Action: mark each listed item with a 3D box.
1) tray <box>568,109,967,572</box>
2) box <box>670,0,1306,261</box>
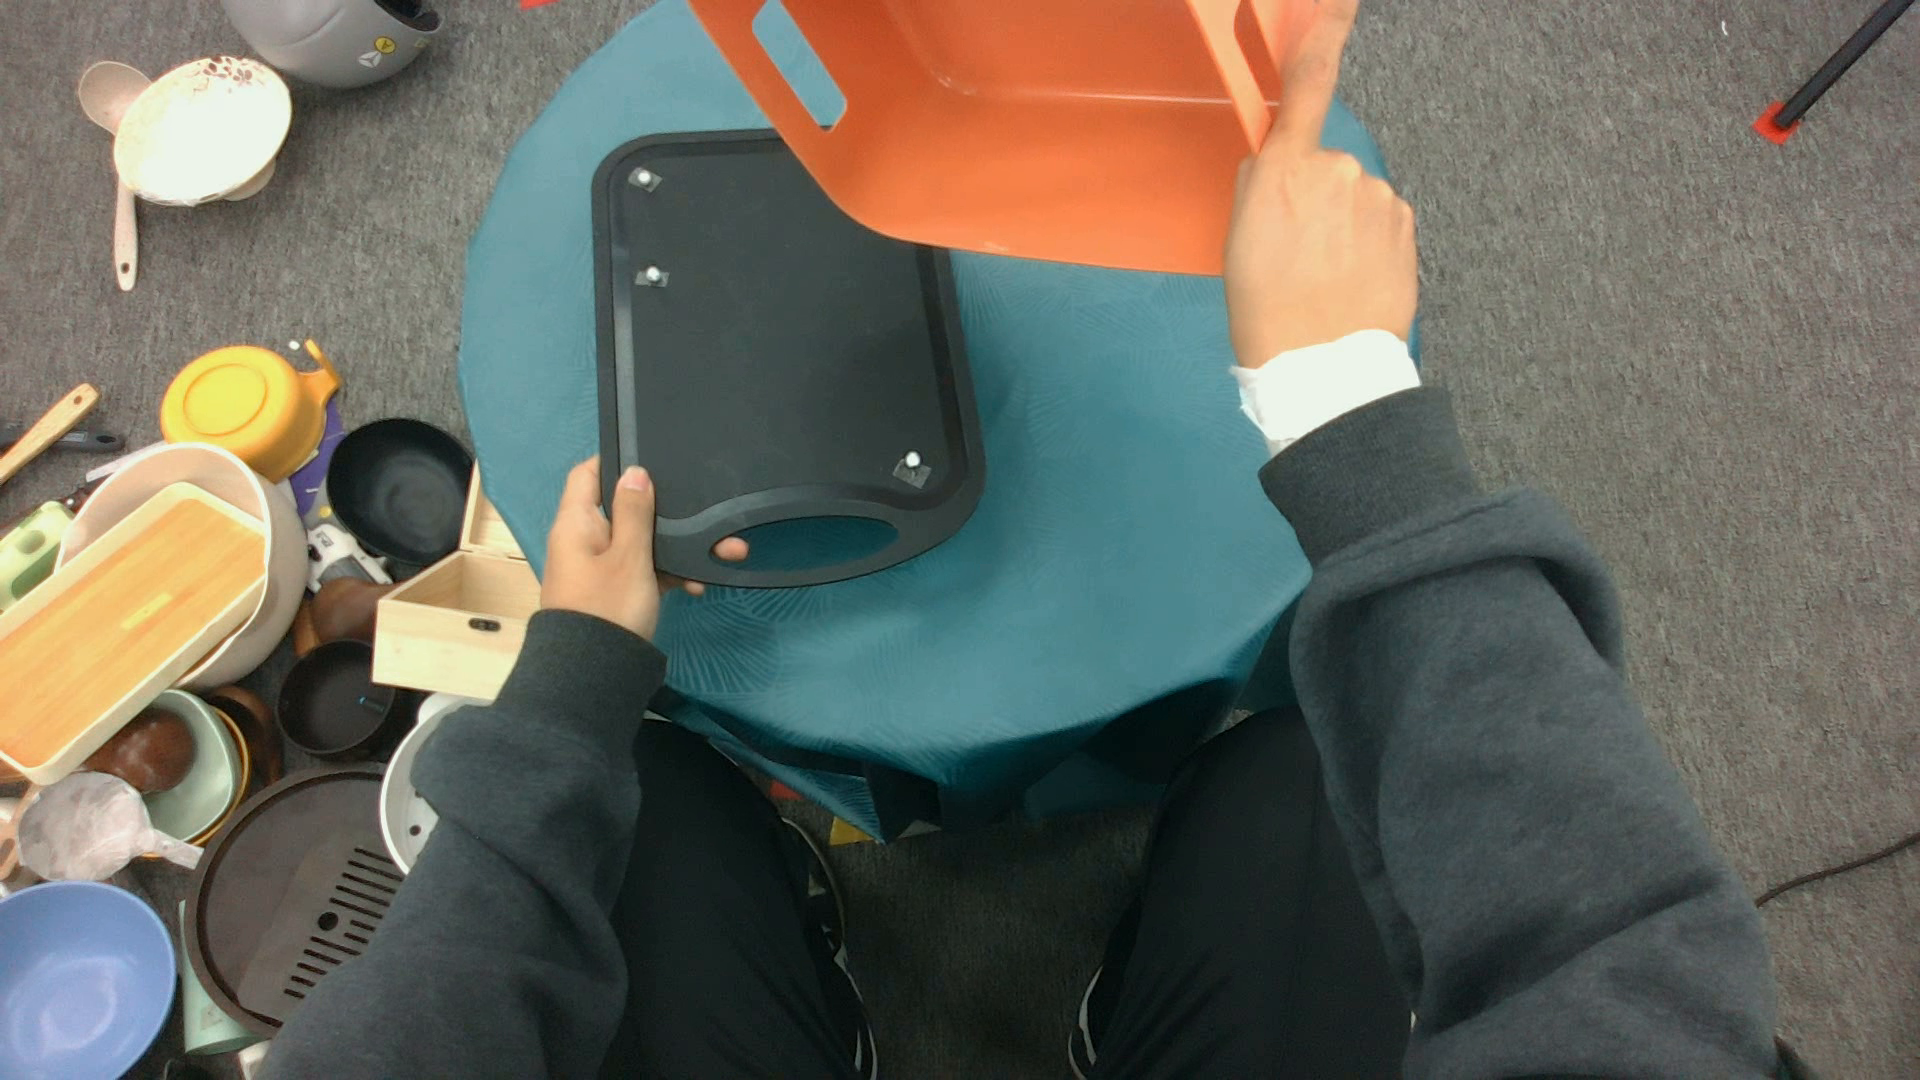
[{"bbox_3d":[-0.114,-0.129,0.792,0.211,0.010,0.326,-6,62,-9],"label":"tray"},{"bbox_3d":[0.018,-0.237,0.639,0.273,0.199,0.103,15,70,34],"label":"box"}]
